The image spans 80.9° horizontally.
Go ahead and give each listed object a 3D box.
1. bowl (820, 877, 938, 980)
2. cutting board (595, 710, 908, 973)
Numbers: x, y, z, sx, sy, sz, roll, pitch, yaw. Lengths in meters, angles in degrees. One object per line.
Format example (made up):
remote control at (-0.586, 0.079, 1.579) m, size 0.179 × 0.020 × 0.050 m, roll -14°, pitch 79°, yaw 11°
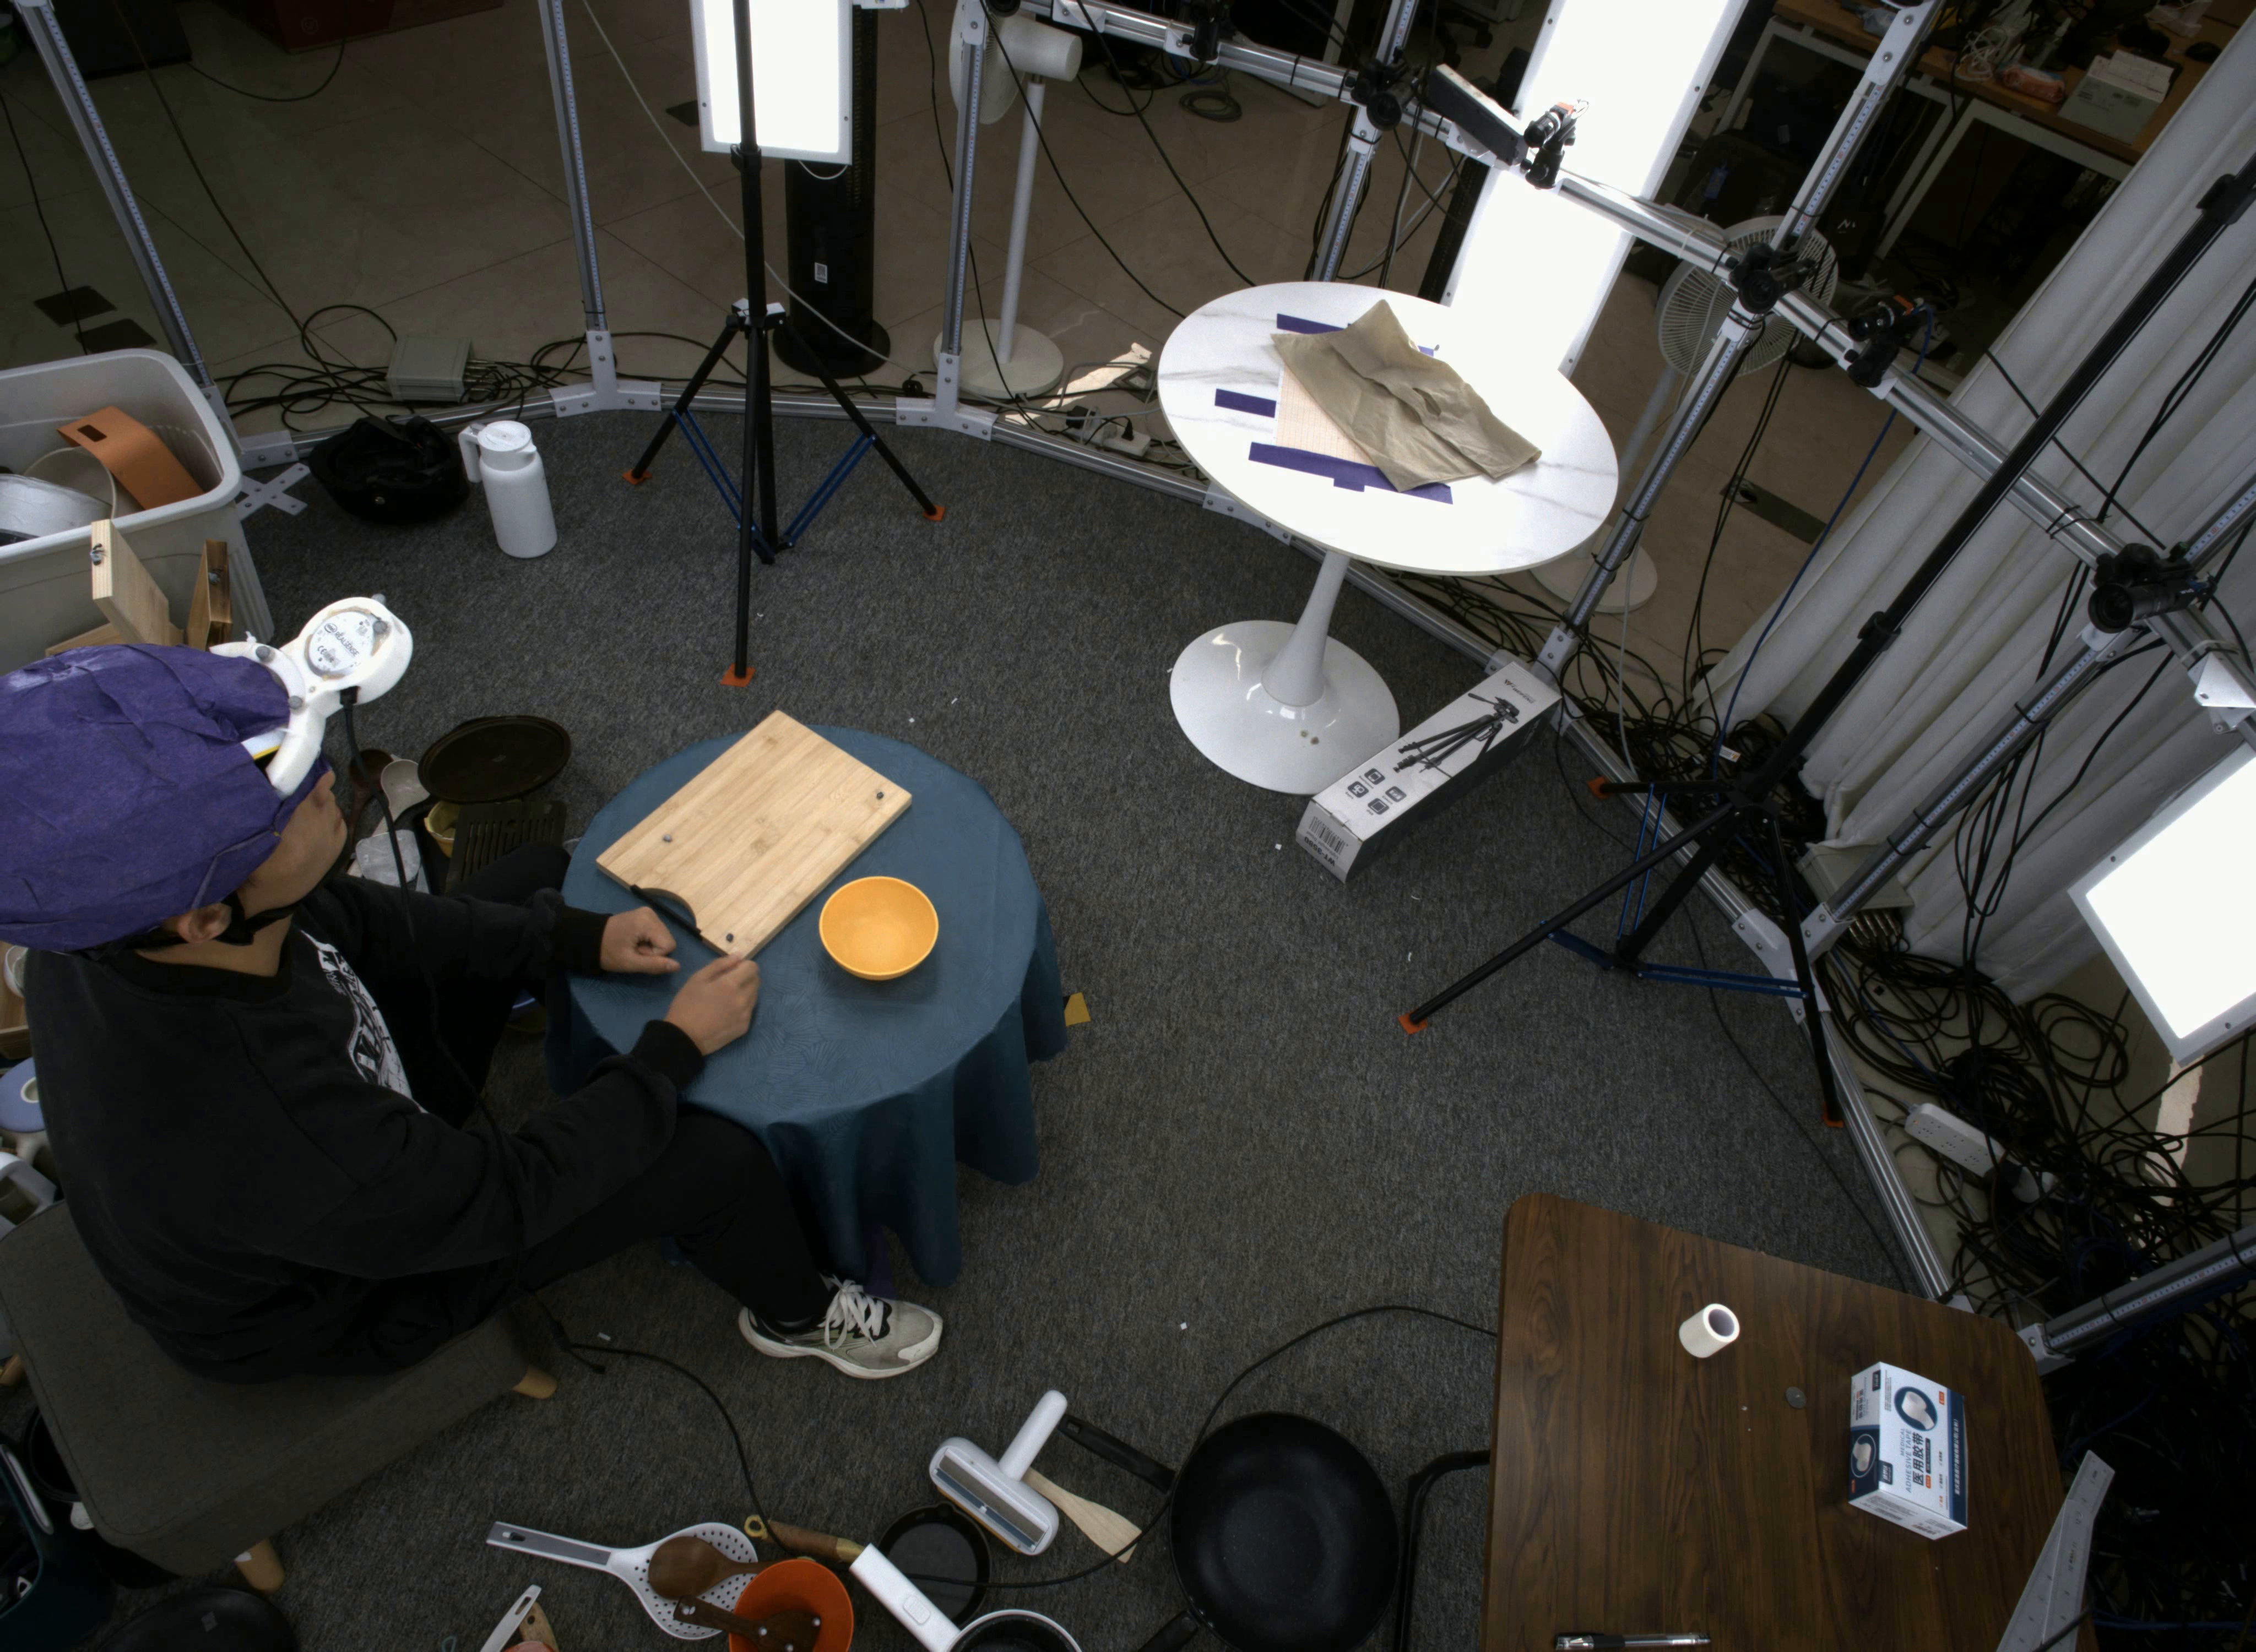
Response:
bowl at (-0.308, 0.137, 1.621) m, size 0.144 × 0.061 × 0.143 m, roll 6°, pitch 53°, yaw -6°
cutting board at (-0.487, 0.008, 1.697) m, size 0.246 × 0.024 × 0.347 m, roll 31°, pitch 53°, yaw 10°
